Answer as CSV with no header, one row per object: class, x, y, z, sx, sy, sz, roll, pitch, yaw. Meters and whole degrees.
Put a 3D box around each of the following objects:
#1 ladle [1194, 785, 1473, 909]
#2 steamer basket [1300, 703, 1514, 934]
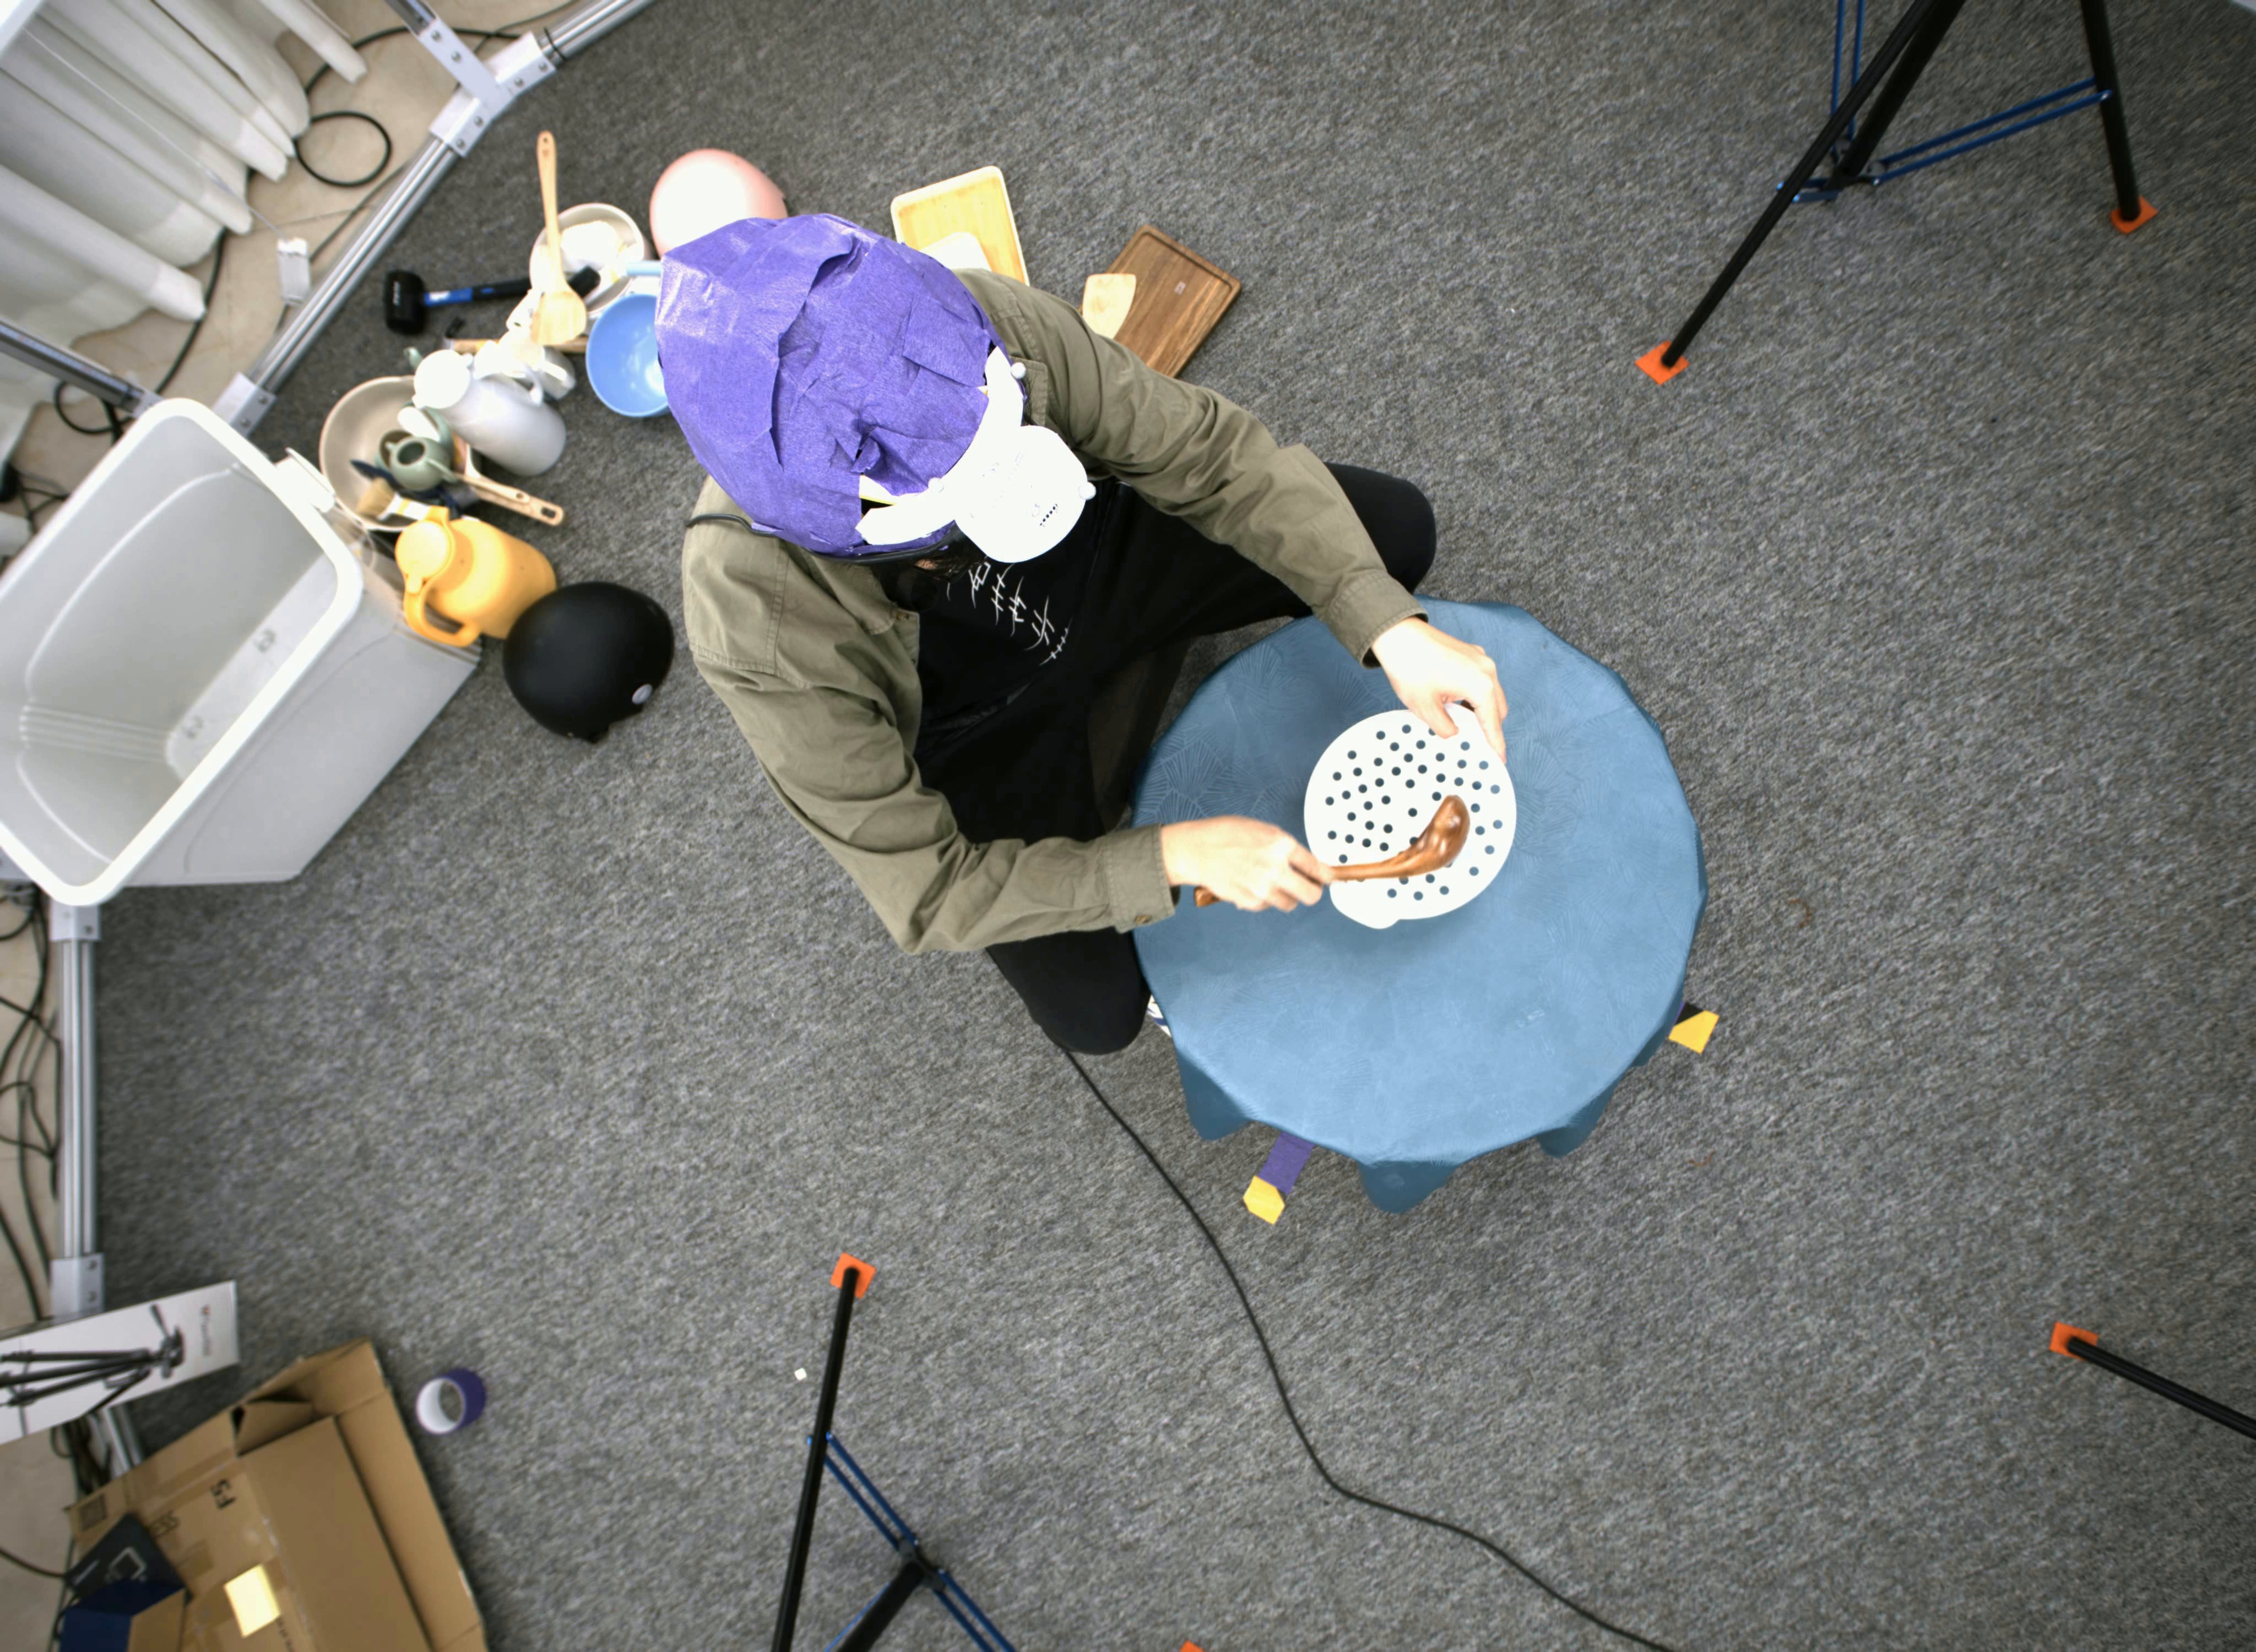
ladle,0.193,0.018,1.299,0.275,0.084,0.075,-9,54,3
steamer basket,0.271,-0.009,1.338,0.201,0.068,0.233,27,102,11
